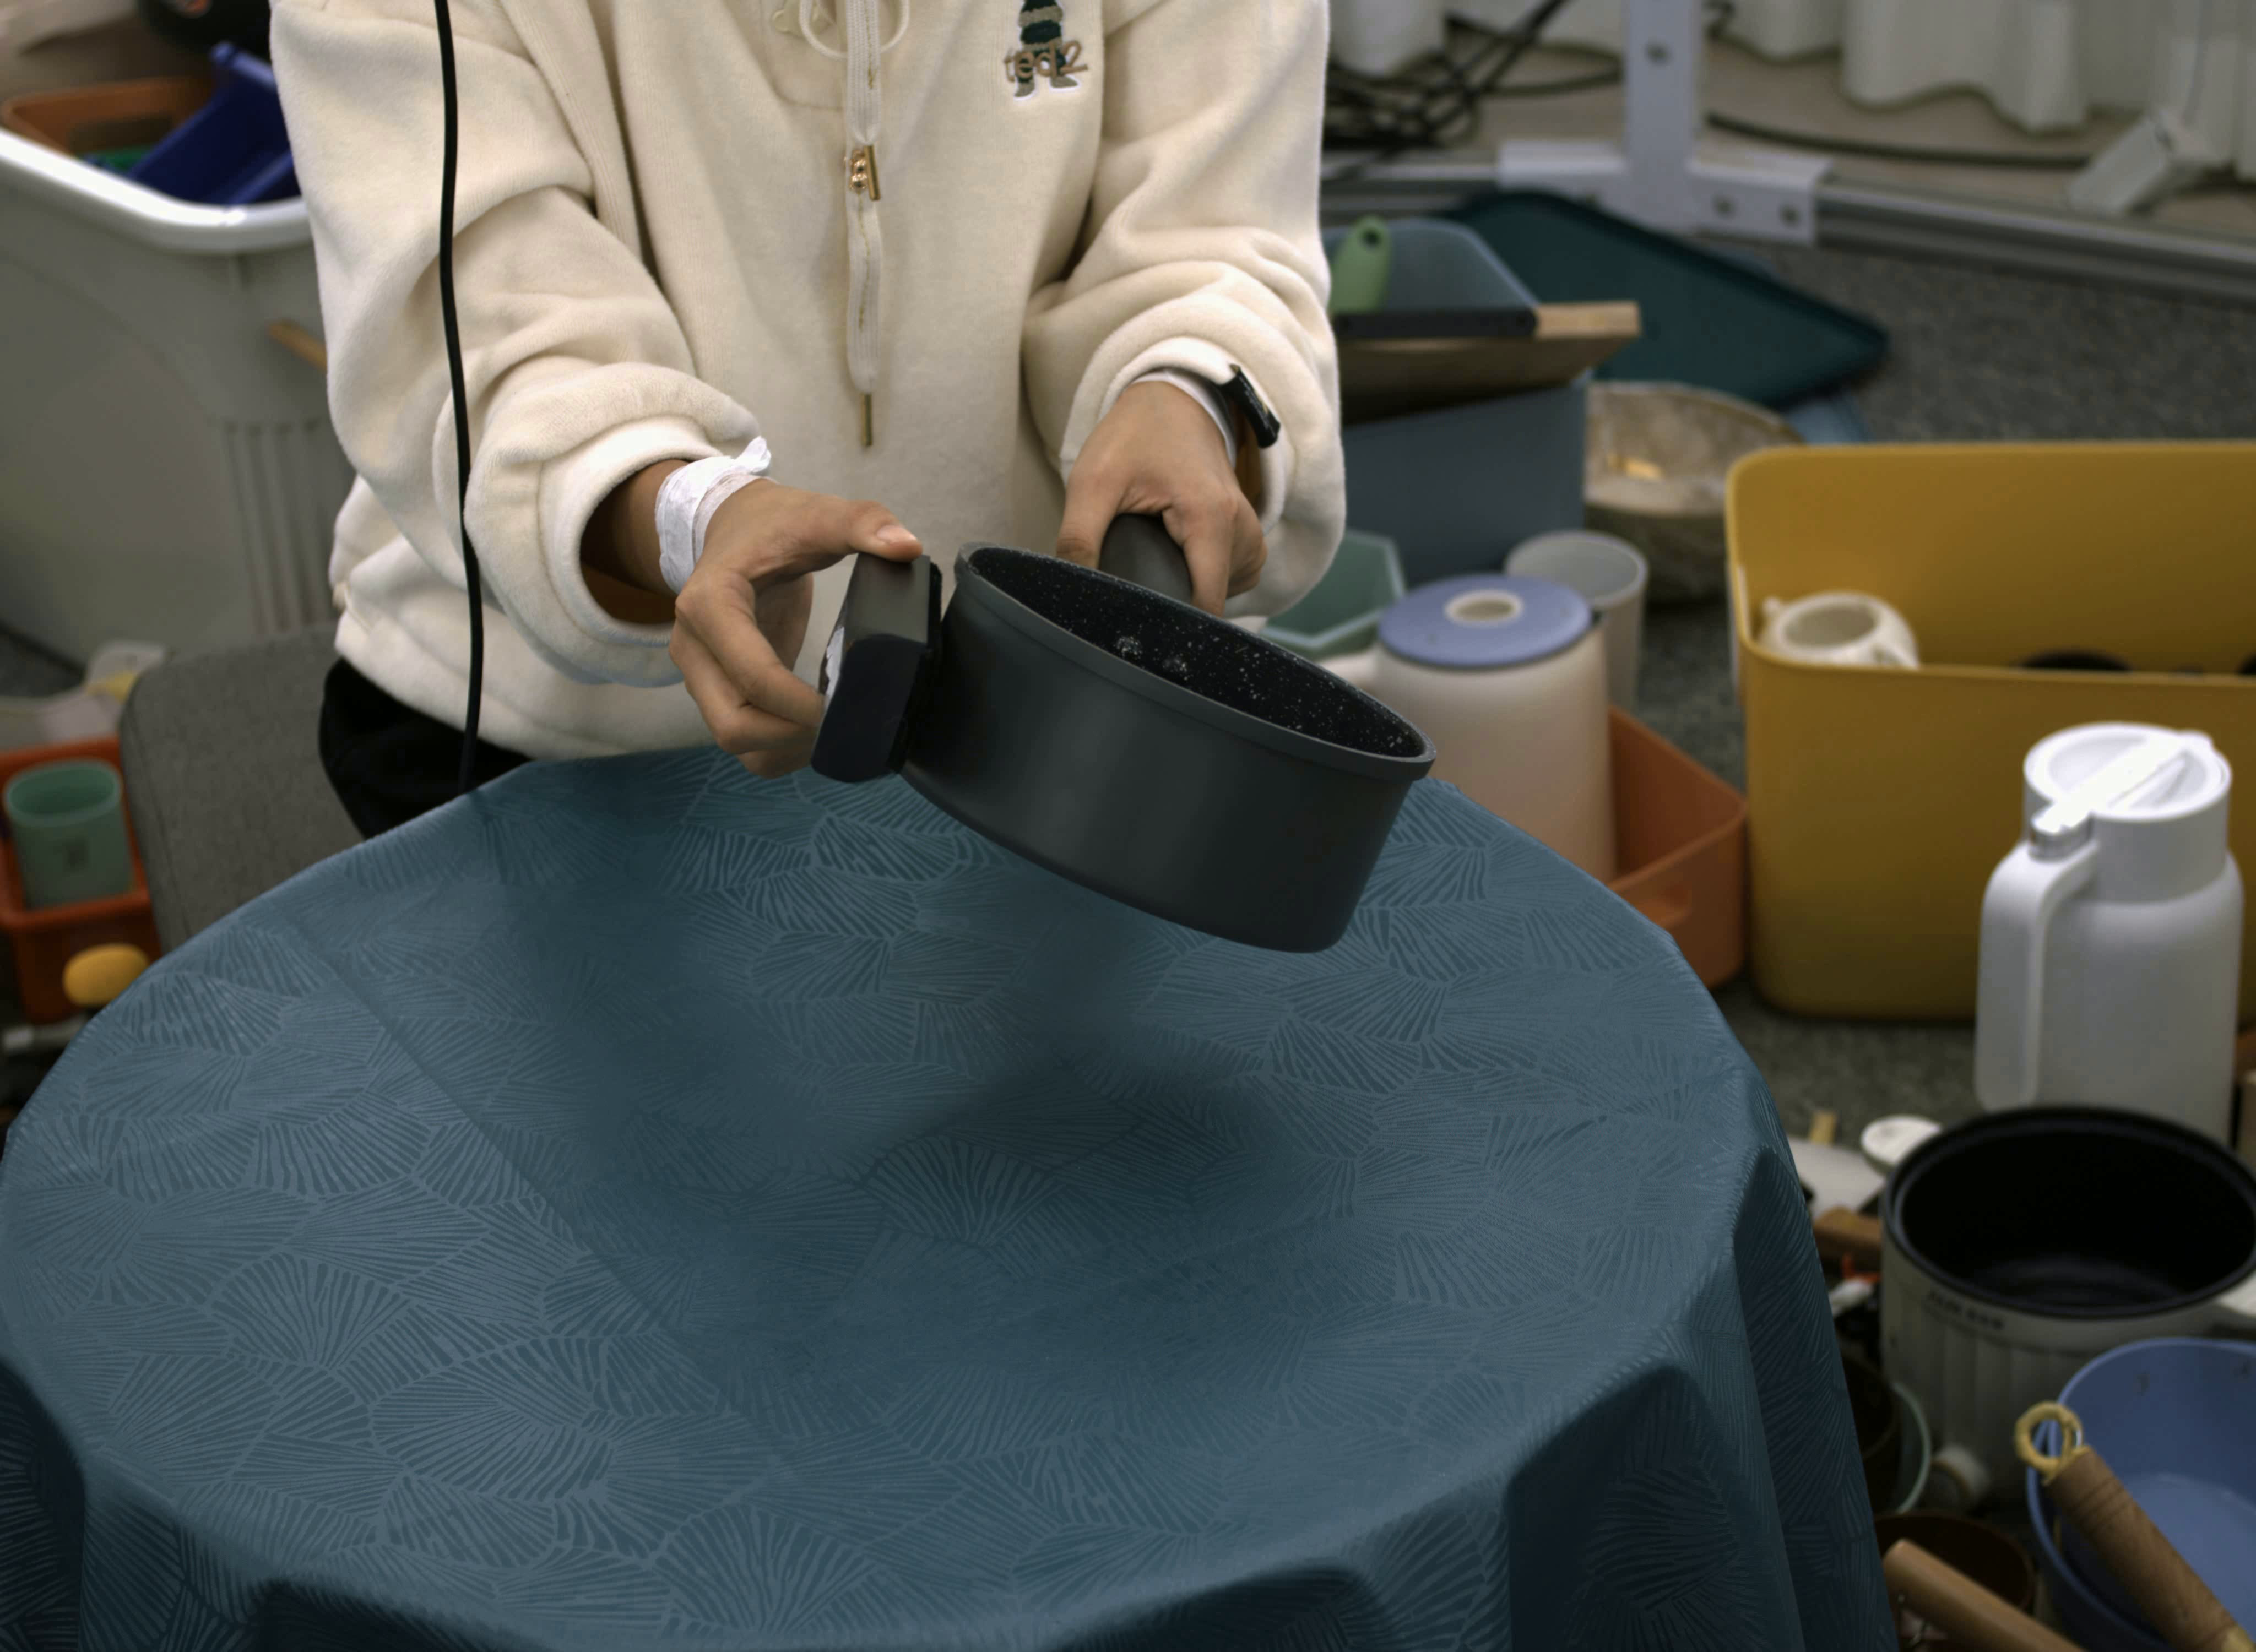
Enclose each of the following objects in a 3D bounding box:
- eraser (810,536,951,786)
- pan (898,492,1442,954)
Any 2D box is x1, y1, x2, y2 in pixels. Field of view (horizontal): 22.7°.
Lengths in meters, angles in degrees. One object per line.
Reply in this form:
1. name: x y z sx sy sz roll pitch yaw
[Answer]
1. eraser: -0.080 -0.055 1.827 0.030 0.053 0.126 20 13 -6
2. pan: 0.008 -0.045 1.928 0.171 0.086 0.331 23 12 -7
